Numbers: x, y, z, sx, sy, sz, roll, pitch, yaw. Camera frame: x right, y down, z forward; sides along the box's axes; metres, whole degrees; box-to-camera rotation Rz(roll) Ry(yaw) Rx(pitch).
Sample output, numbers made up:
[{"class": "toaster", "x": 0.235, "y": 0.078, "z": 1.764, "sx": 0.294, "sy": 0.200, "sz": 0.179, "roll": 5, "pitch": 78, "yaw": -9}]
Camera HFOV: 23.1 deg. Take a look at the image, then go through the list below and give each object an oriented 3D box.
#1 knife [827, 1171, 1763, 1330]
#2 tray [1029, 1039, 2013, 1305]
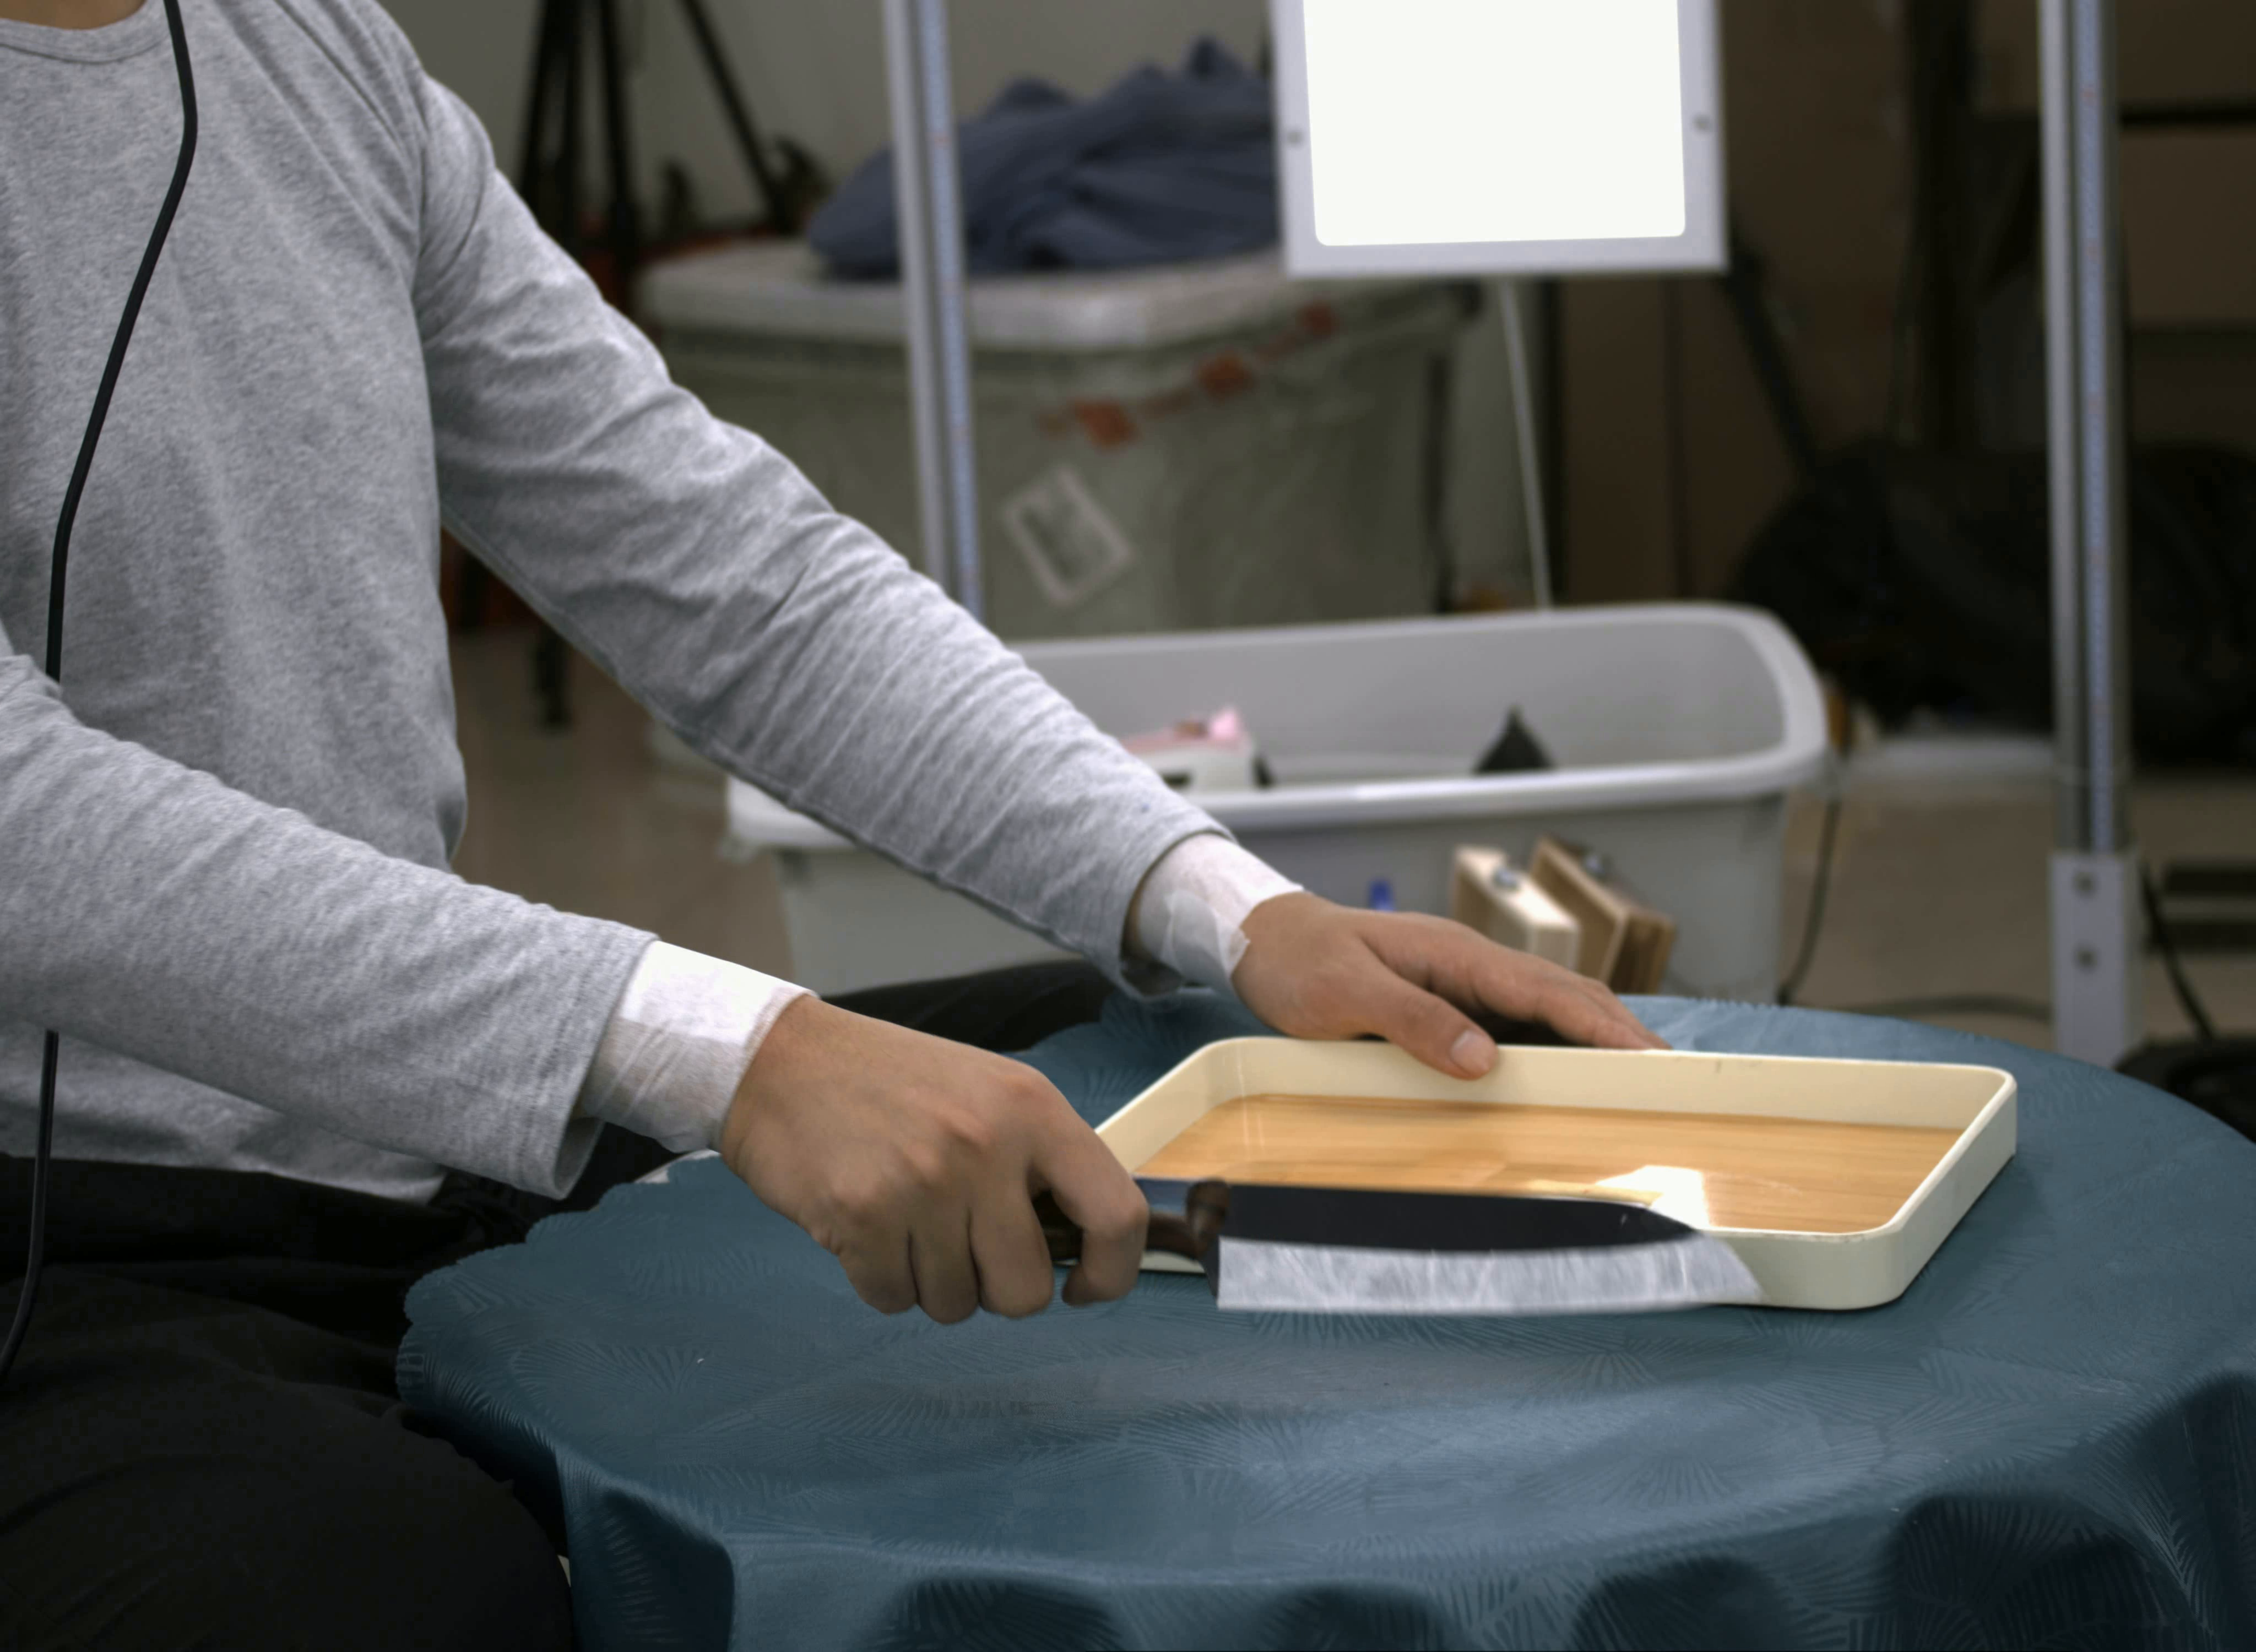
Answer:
[{"class": "knife", "x": 0.051, "y": 0.130, "z": 1.682, "sx": 0.289, "sy": 0.050, "sz": 0.020, "roll": 5, "pitch": -31, "yaw": 3}, {"class": "tray", "x": 0.135, "y": 0.114, "z": 1.849, "sx": 0.305, "sy": 0.027, "sz": 0.188, "roll": 1, "pitch": 15, "yaw": 25}]
